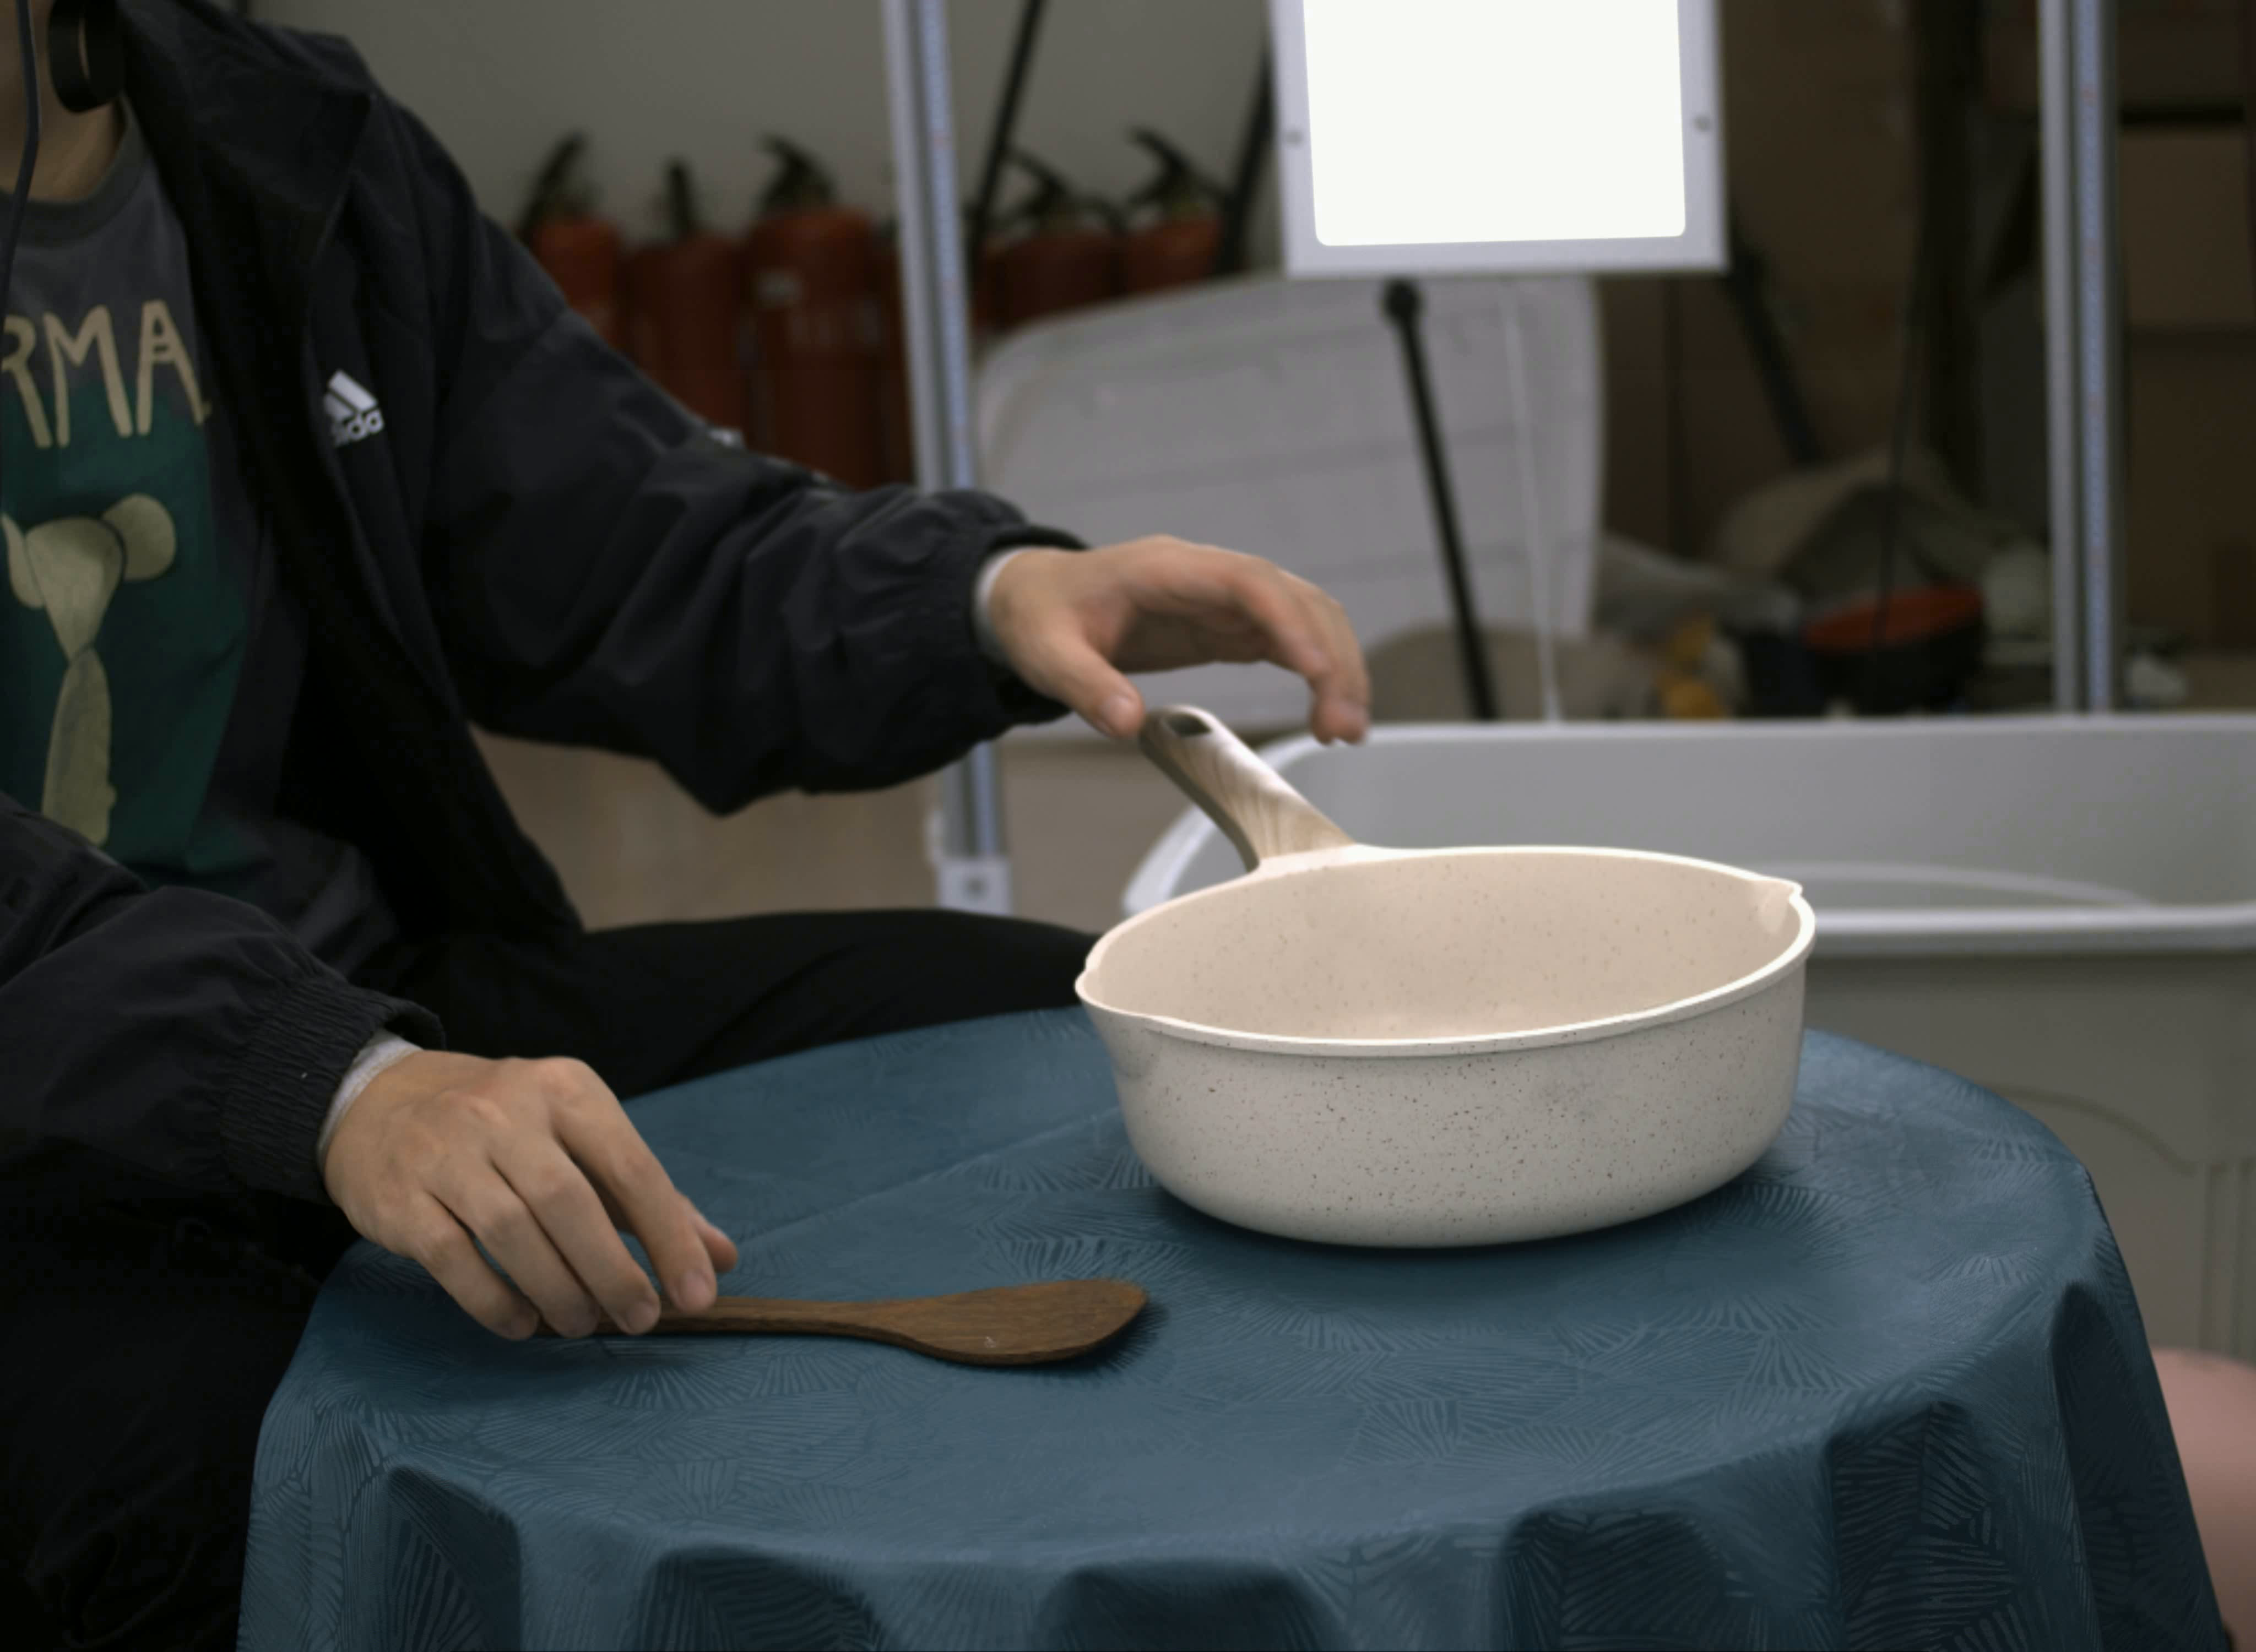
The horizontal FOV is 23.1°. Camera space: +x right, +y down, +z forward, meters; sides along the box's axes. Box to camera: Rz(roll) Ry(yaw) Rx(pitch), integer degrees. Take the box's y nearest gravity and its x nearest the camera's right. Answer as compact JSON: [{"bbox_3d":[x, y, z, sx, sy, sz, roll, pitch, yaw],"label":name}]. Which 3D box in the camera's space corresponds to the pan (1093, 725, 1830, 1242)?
[{"bbox_3d":[0.089,0.050,1.971,0.259,0.102,0.440,-11,14,-16],"label":"pan"}]

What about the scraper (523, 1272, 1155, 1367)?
[{"bbox_3d":[-0.096,0.159,1.783,0.214,0.011,0.074,-1,14,19],"label":"scraper"}]
